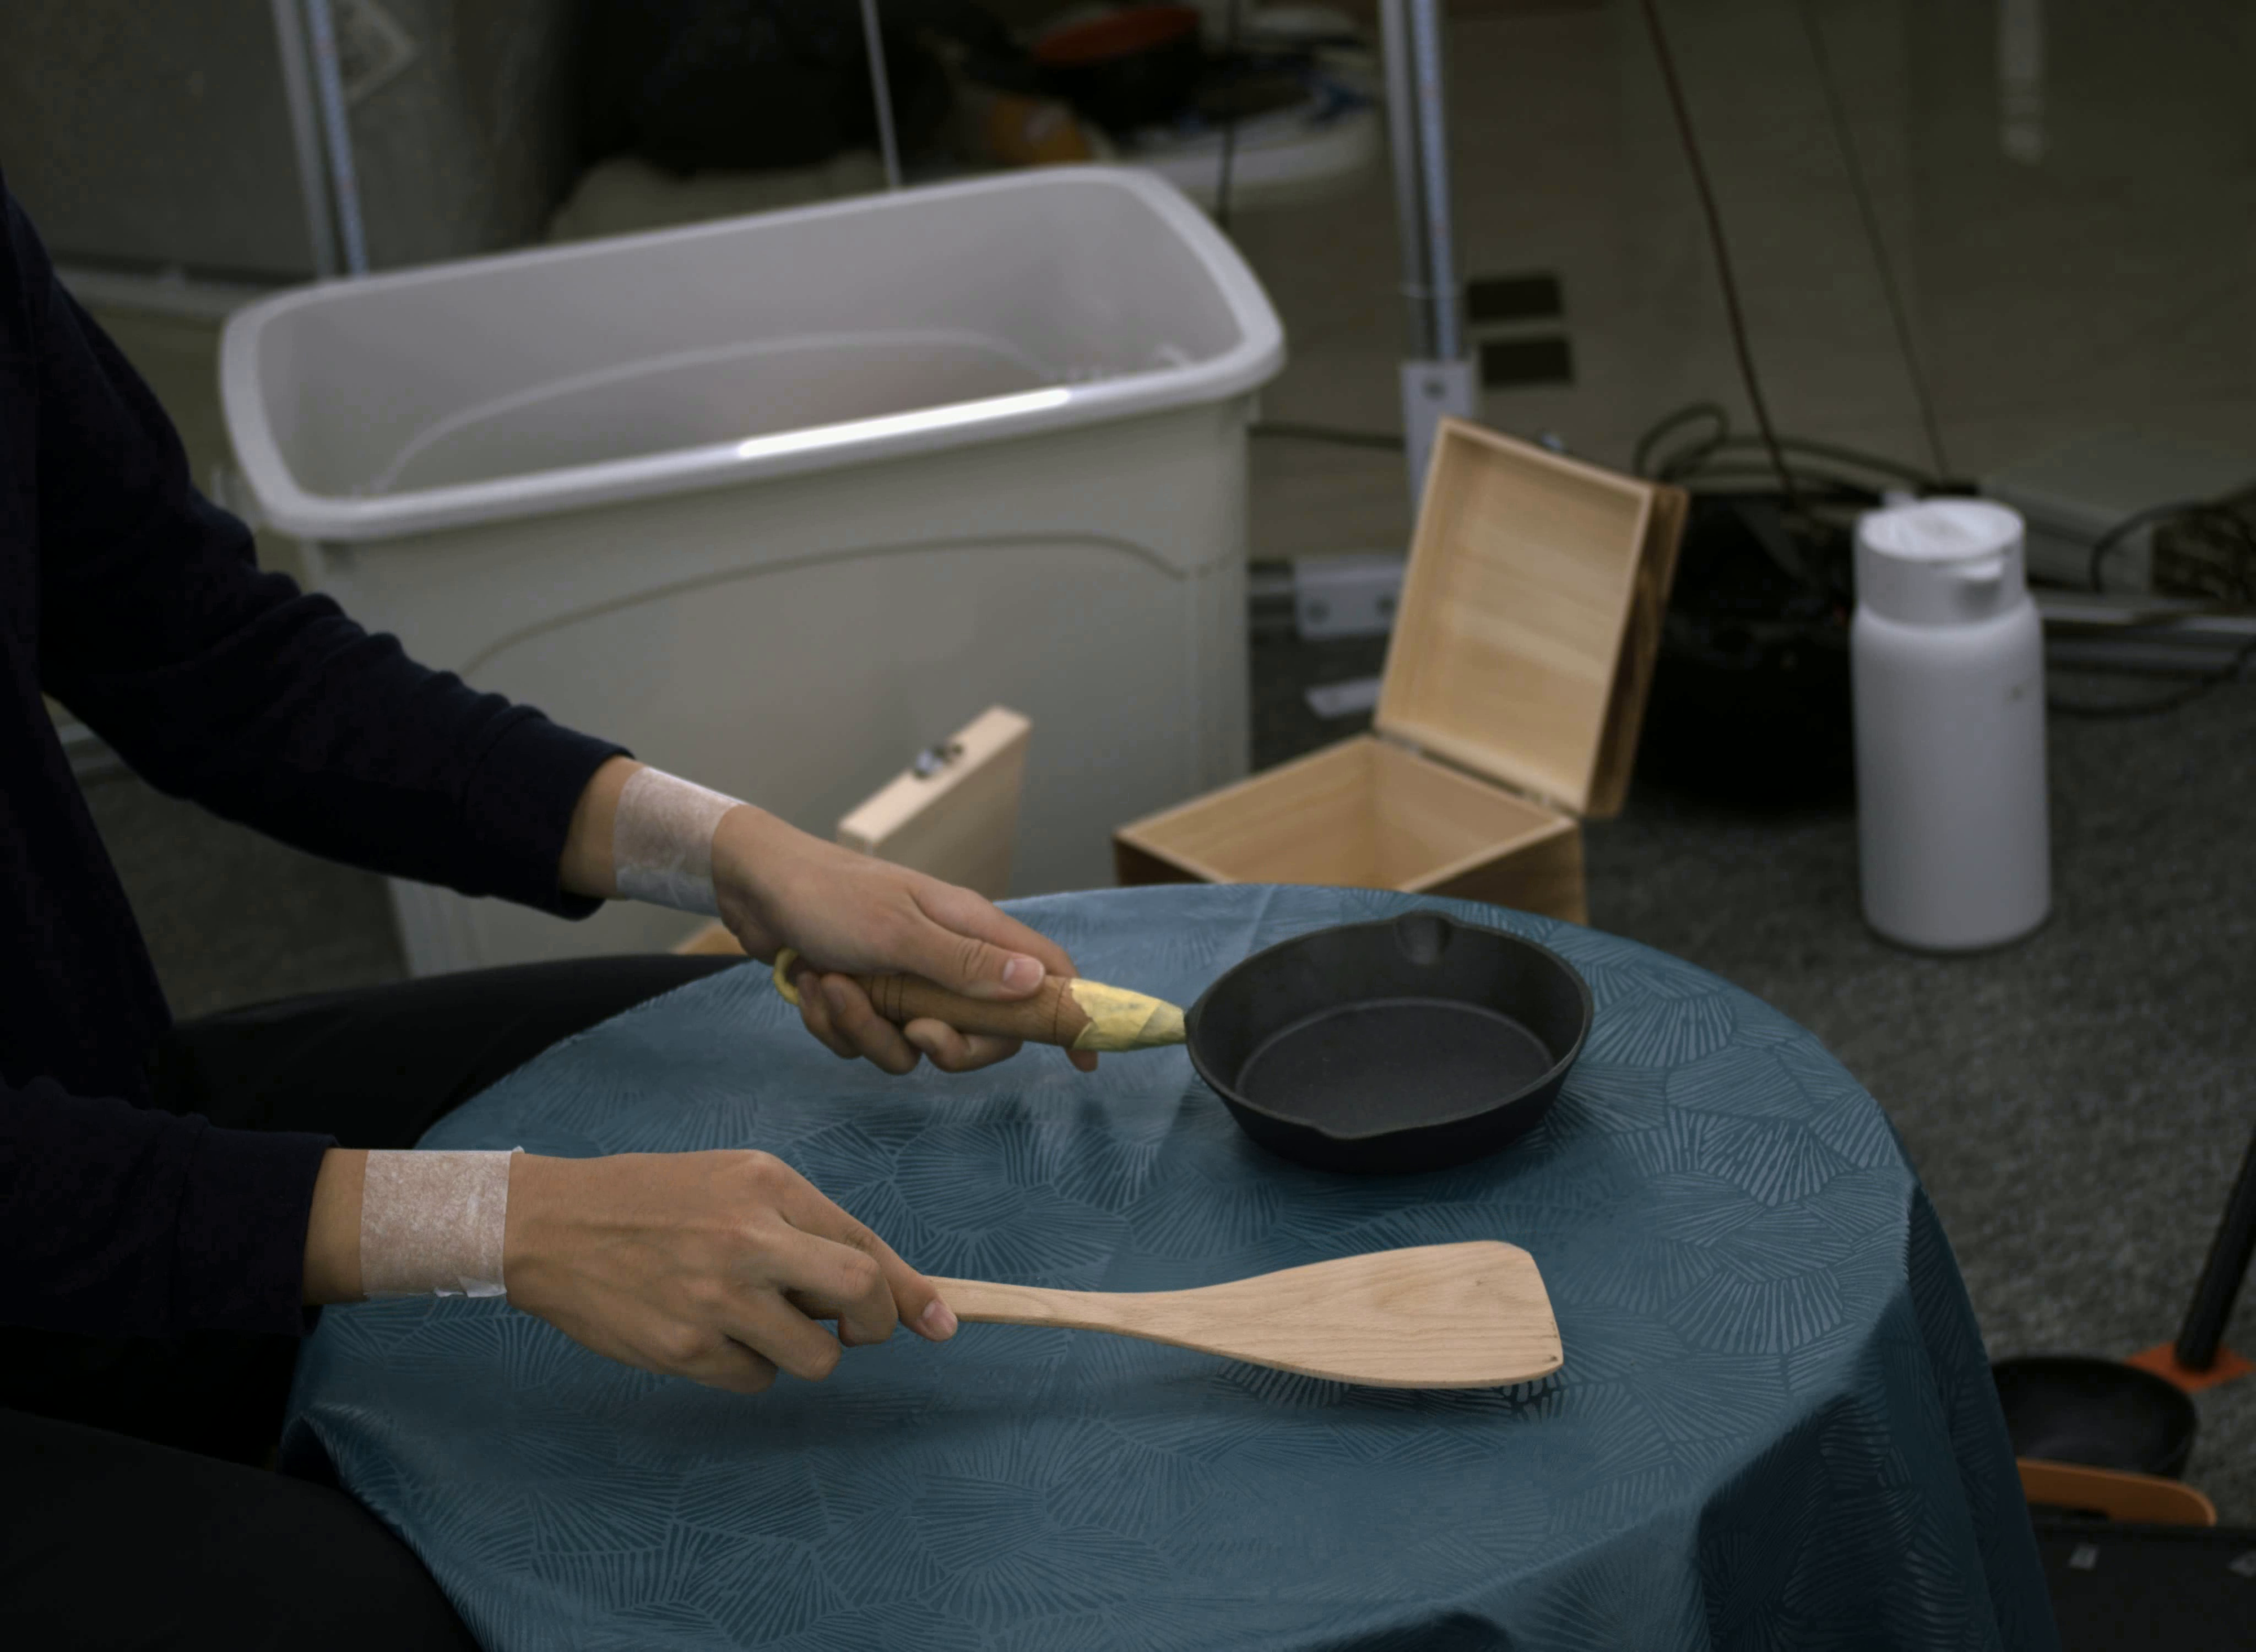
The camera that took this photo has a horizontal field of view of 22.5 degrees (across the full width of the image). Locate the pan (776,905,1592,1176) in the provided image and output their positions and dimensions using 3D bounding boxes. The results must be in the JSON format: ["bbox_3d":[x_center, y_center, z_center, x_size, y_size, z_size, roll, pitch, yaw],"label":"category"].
[{"bbox_3d":[0.020,0.076,2.201,0.323,0.050,0.166,4,31,15],"label":"pan"}]

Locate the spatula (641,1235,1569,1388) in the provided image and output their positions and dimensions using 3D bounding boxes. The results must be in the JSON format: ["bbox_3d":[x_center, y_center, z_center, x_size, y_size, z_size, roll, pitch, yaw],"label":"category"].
[{"bbox_3d":[-0.009,0.167,2.005,0.327,0.017,0.078,2,36,2],"label":"spatula"}]
